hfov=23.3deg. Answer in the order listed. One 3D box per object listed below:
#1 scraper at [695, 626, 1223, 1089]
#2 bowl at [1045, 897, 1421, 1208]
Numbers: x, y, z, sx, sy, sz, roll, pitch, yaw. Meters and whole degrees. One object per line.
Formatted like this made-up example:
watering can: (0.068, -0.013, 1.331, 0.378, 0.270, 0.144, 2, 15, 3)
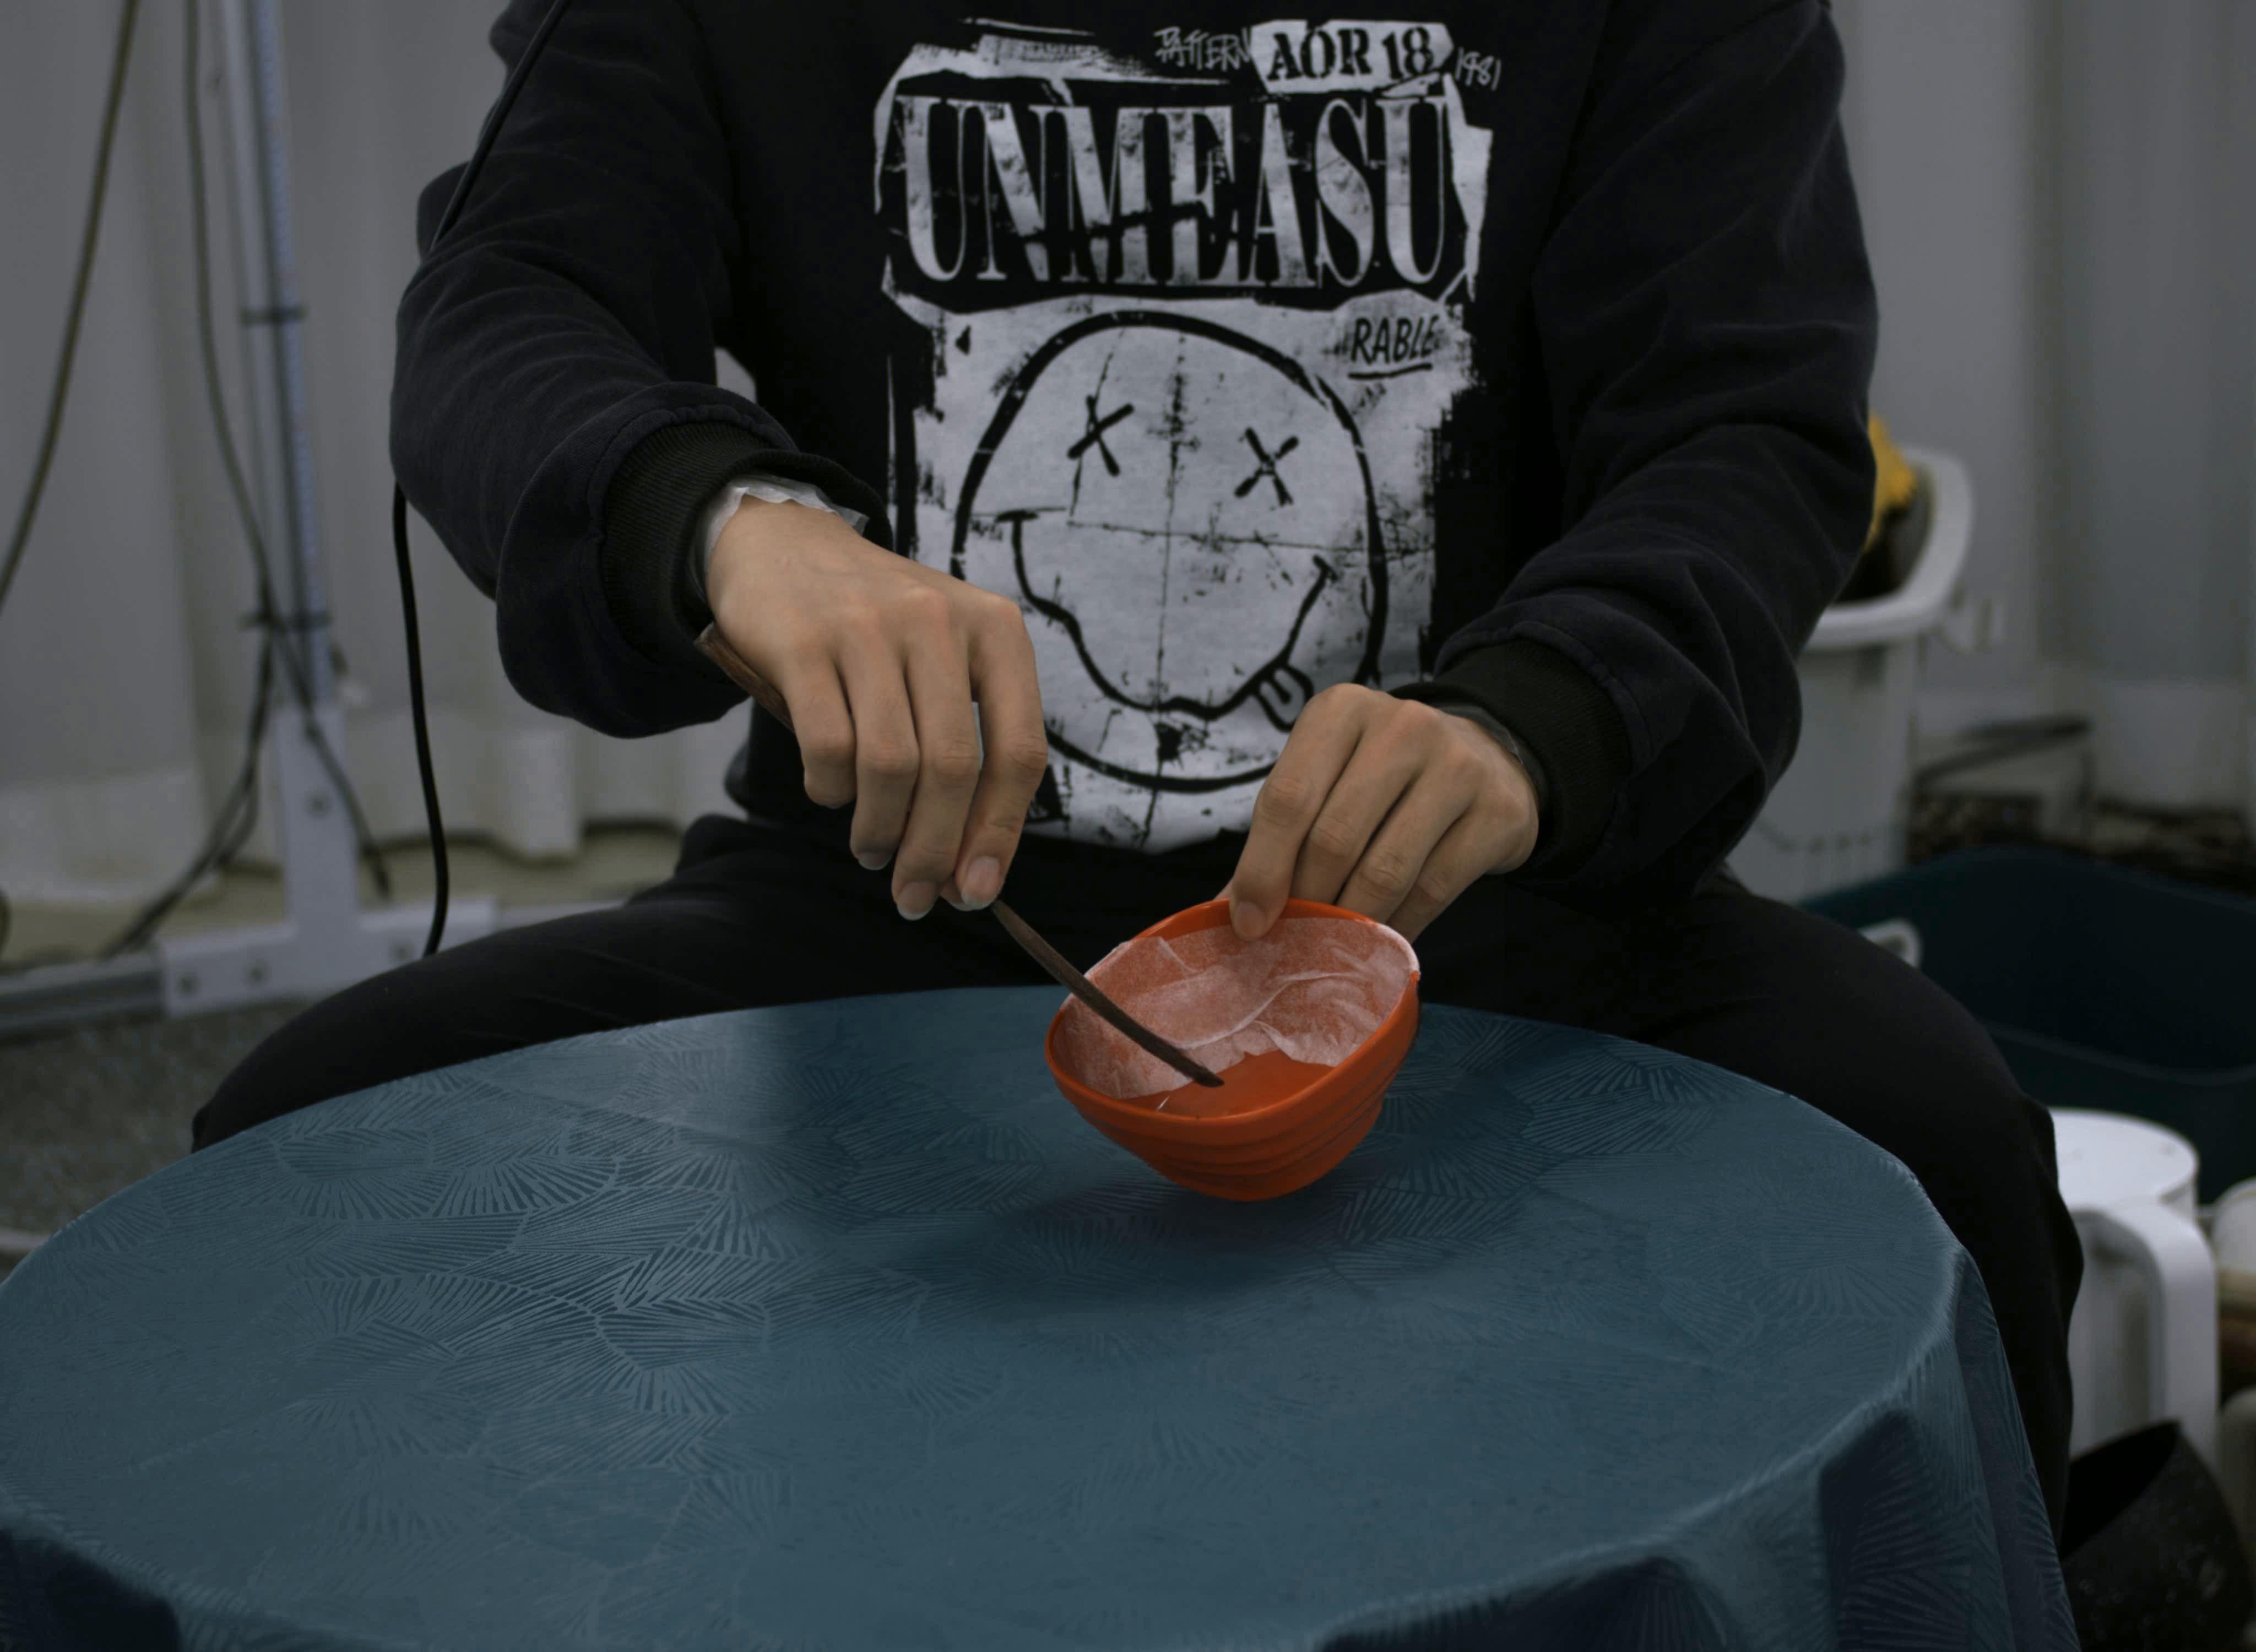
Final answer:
scraper: (-0.053, 0.011, 1.665, 0.011, 0.211, 0.076, -48, 2, -5)
bowl: (0.037, 0.076, 1.692, 0.118, 0.051, 0.120, -12, 33, 7)
